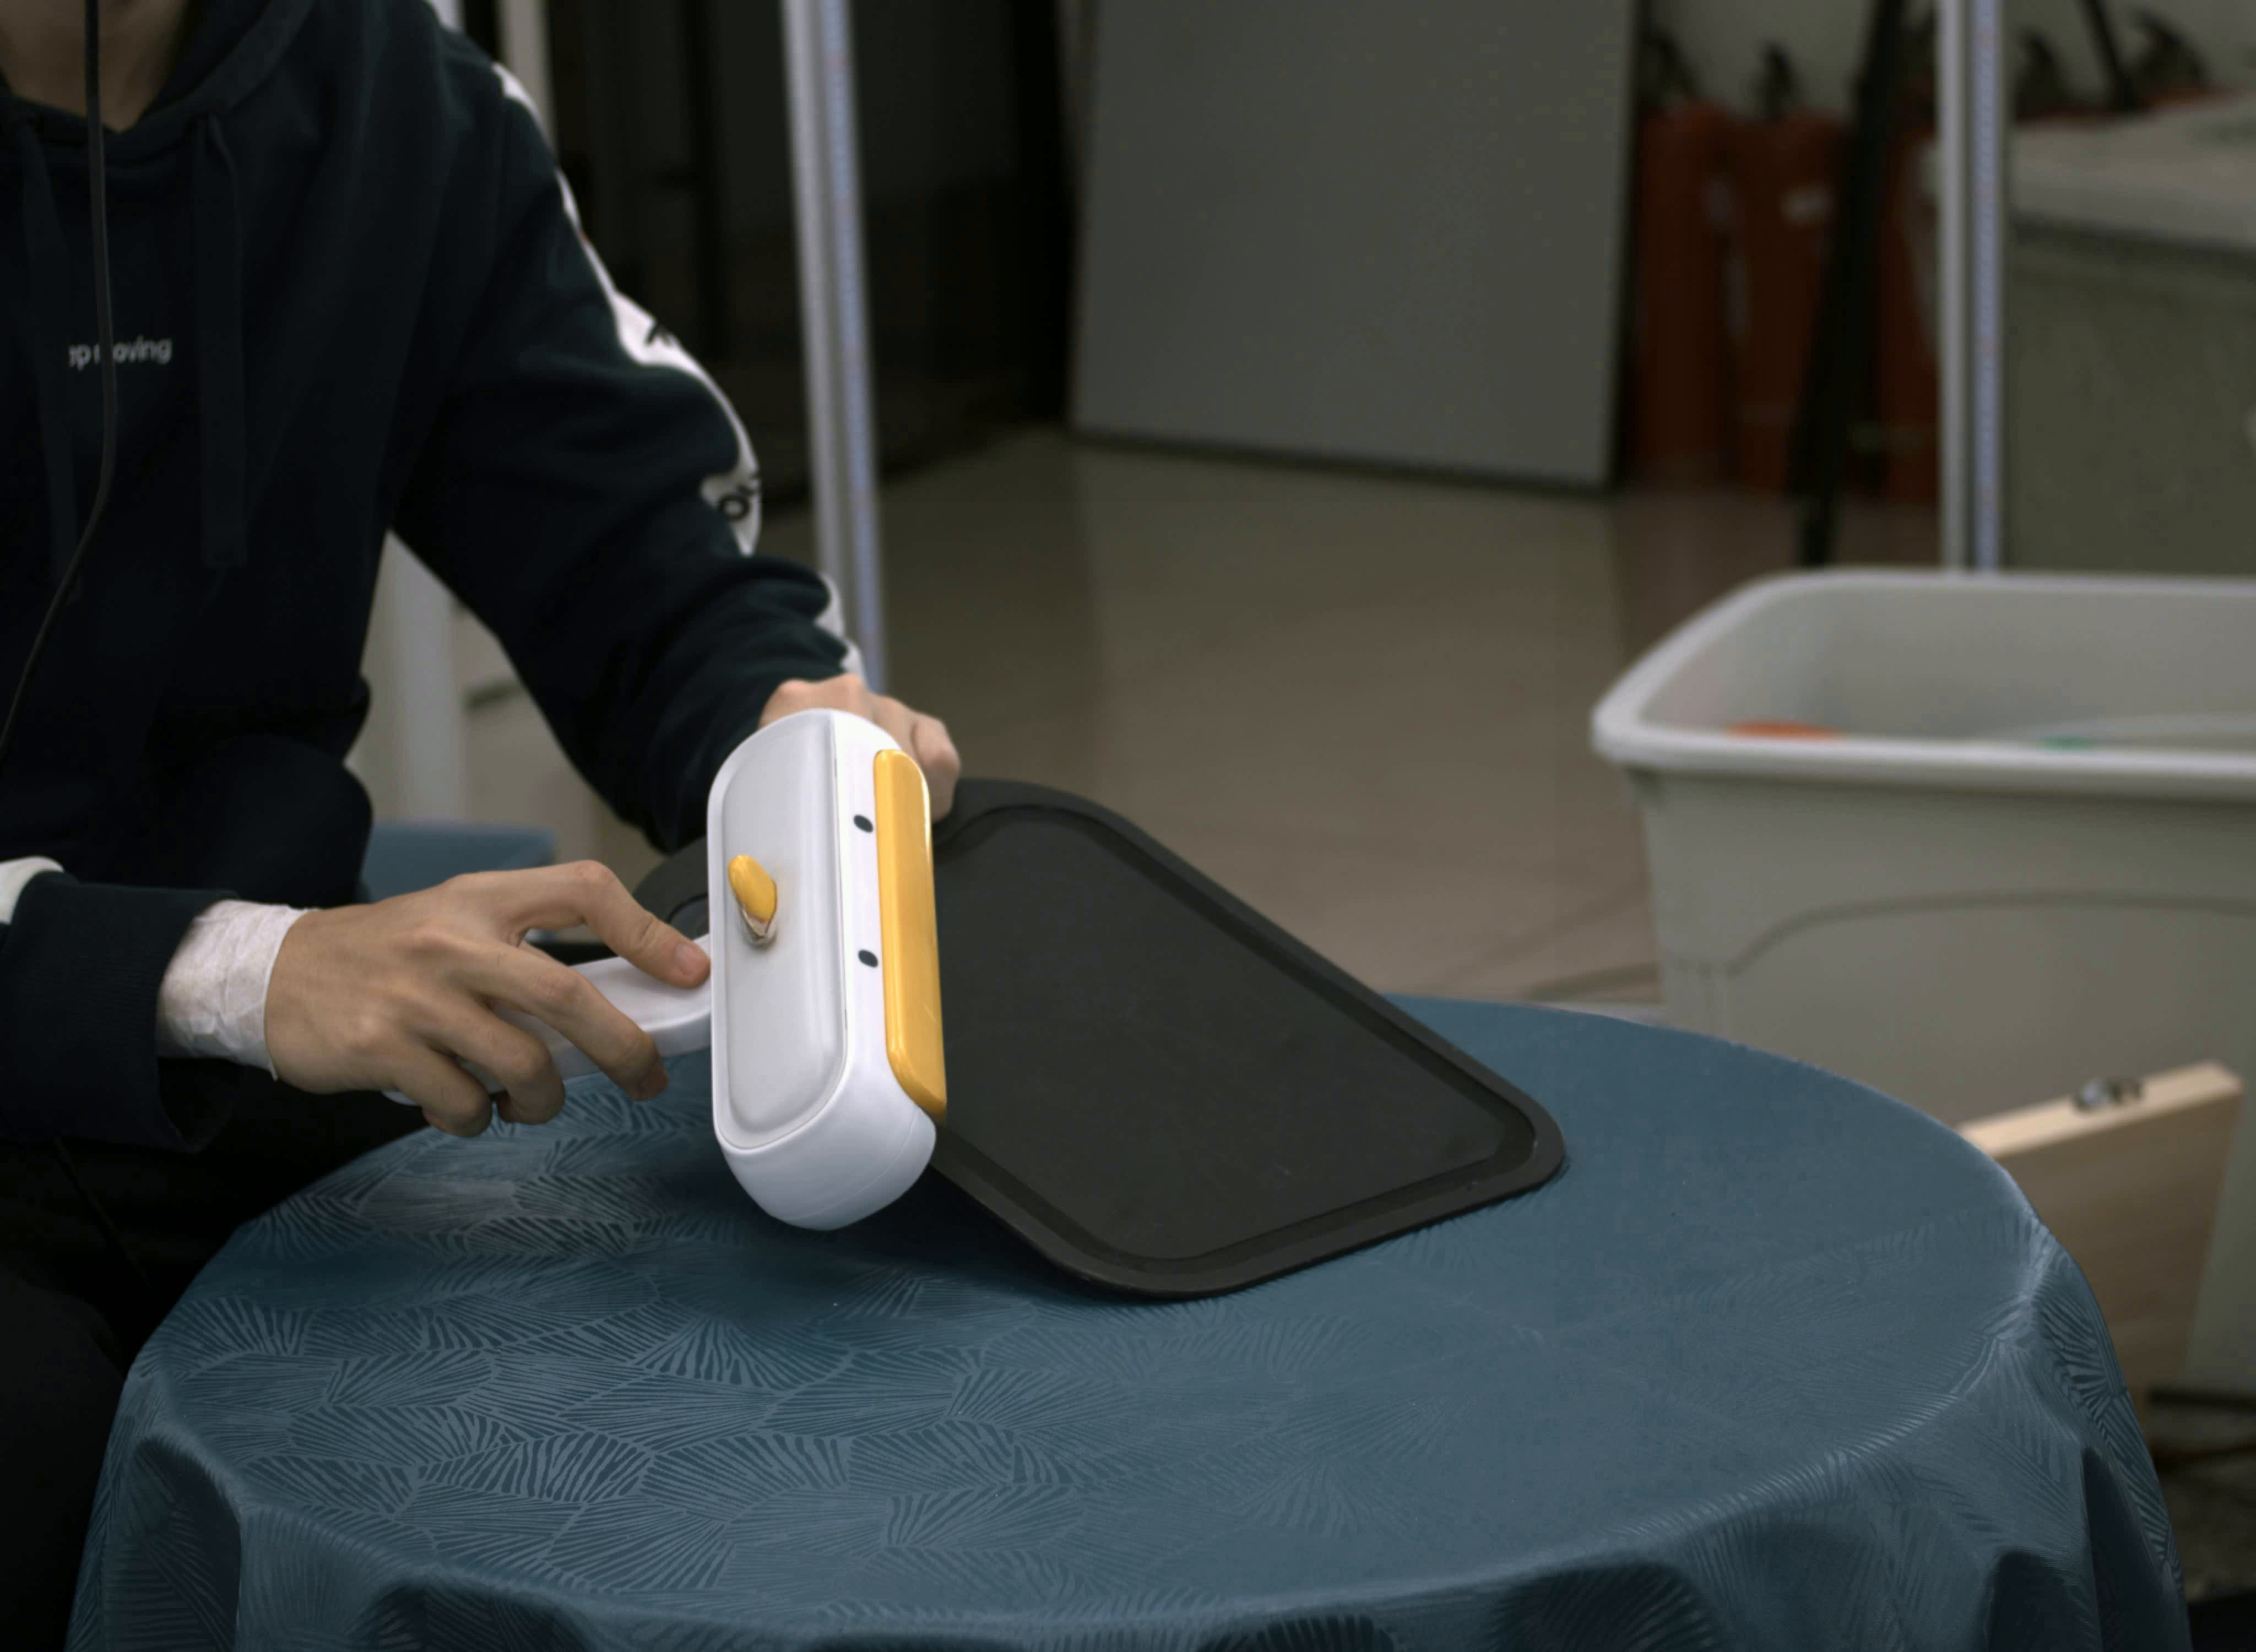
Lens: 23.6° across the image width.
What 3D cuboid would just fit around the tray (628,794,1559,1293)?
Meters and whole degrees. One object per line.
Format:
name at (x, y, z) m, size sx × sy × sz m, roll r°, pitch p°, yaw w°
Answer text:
tray at (-0.020, 0.063, 1.811) m, size 0.206 × 0.010 × 0.329 m, roll -14°, pitch 33°, yaw -36°

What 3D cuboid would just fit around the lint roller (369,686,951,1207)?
lint roller at (-0.153, 0.057, 1.750) m, size 0.192 × 0.073 × 0.195 m, roll -25°, pitch 48°, yaw 16°
